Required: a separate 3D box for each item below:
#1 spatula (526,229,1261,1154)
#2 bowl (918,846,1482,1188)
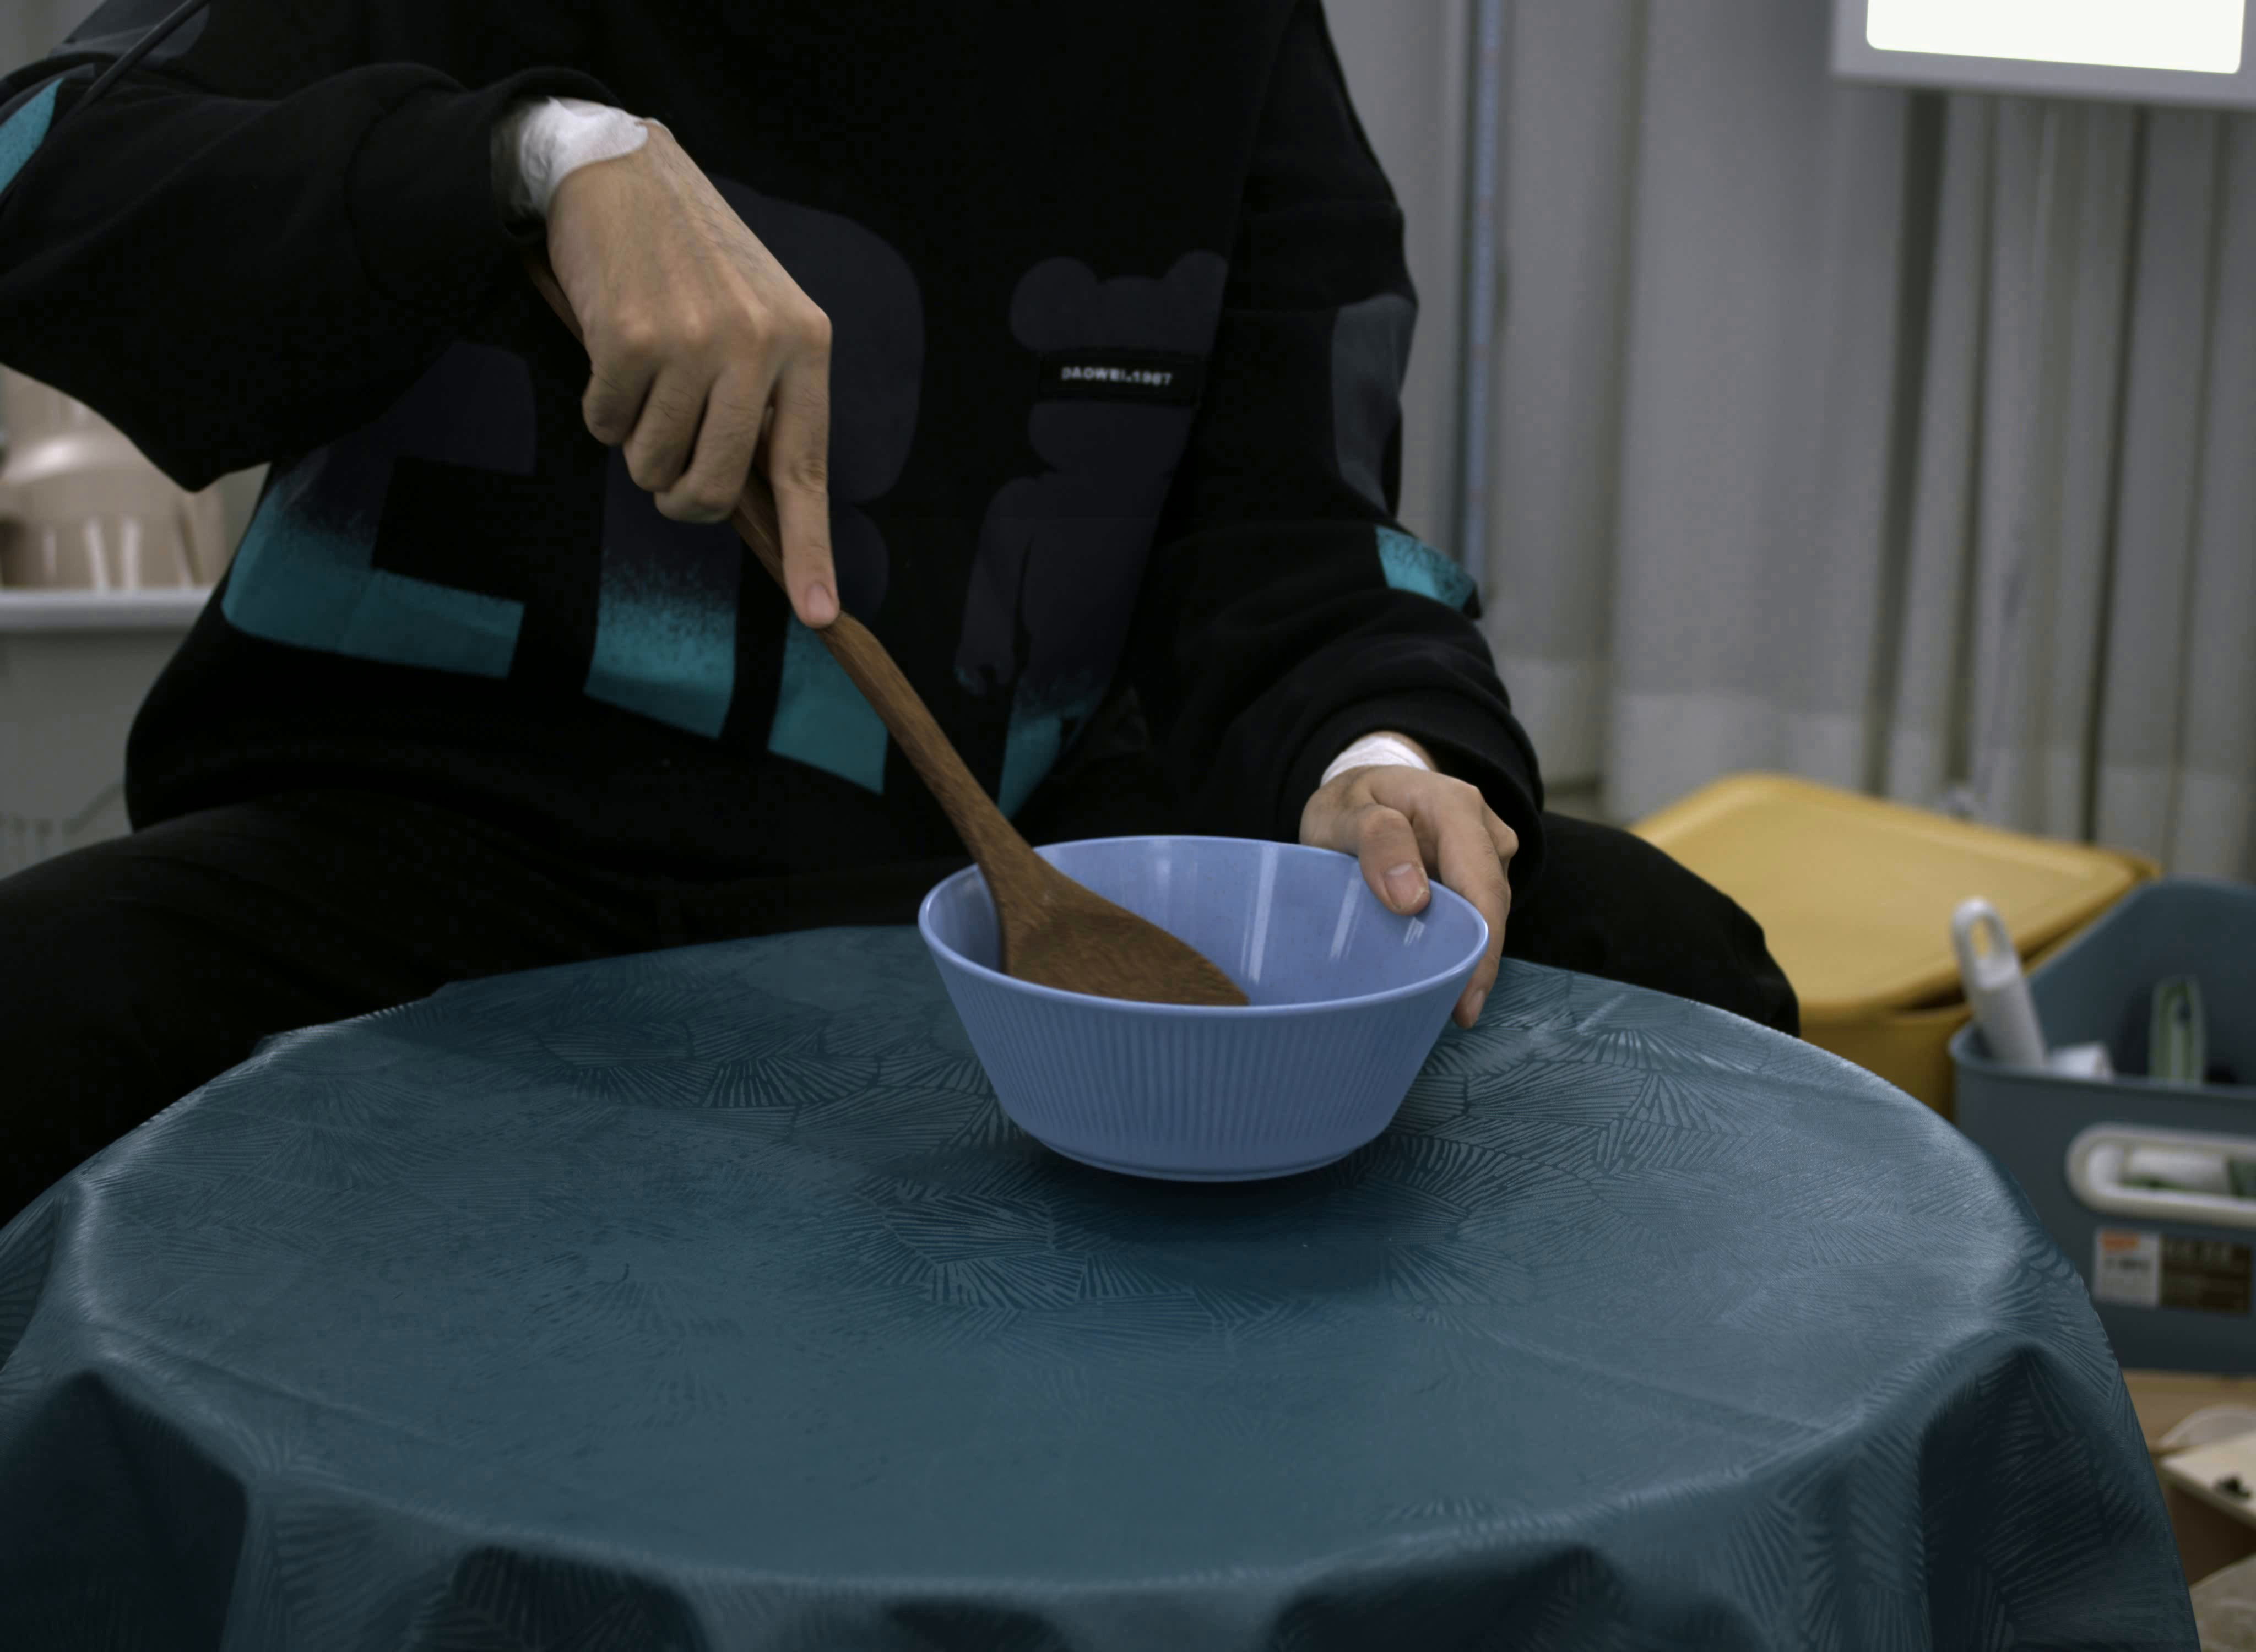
[{"bbox_3d":[-0.078,-0.049,1.666,0.096,0.016,0.383,-21,69,-48],"label":"spatula"},{"bbox_3d":[0.023,0.062,1.637,0.175,0.071,0.175,-1,17,1],"label":"bowl"}]
